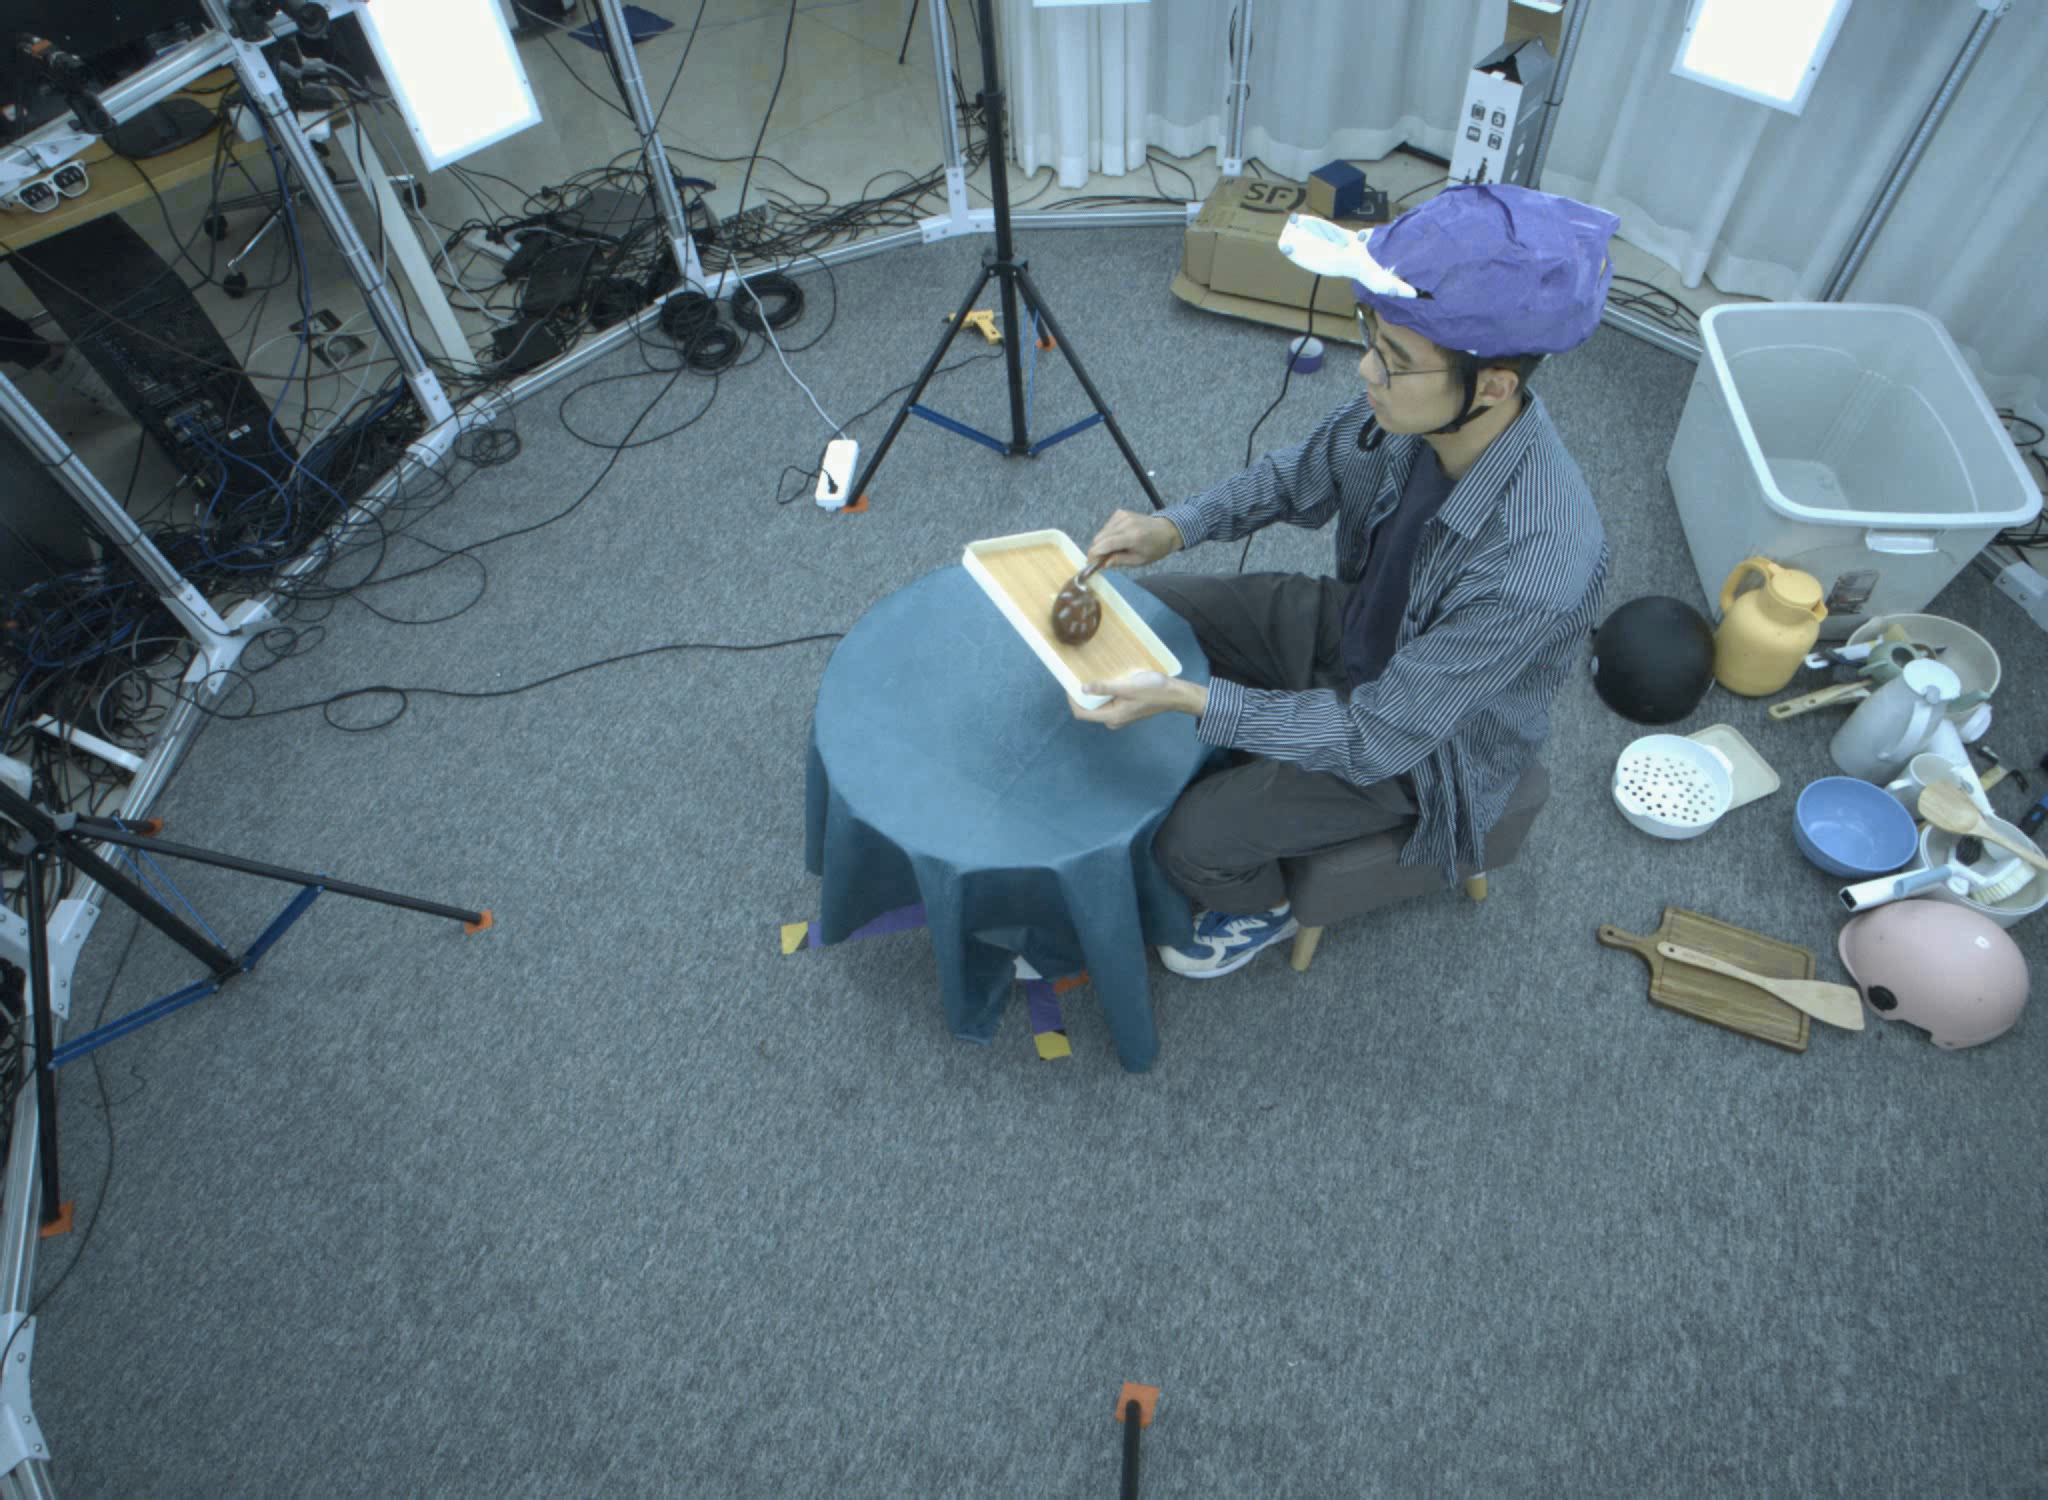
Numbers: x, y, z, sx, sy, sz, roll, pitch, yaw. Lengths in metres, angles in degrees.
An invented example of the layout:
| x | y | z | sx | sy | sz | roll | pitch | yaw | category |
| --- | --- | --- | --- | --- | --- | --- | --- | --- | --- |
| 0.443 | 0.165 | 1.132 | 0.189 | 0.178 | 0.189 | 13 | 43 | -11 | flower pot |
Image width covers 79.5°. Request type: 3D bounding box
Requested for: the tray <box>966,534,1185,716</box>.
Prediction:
| x | y | z | sx | sy | sz | roll | pitch | yaw | category |
| --- | --- | --- | --- | --- | --- | --- | --- | --- | --- |
| 0.070 | -0.178 | 1.683 | 0.195 | 0.027 | 0.296 | -18 | 63 | -42 | tray |

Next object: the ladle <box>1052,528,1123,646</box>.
| x | y | z | sx | sy | sz | roll | pitch | yaw | category |
| --- | --- | --- | --- | --- | --- | --- | --- | --- | --- |
| 0.108 | -0.231 | 1.713 | 0.081 | 0.077 | 0.275 | -24 | 17 | 34 | ladle |
